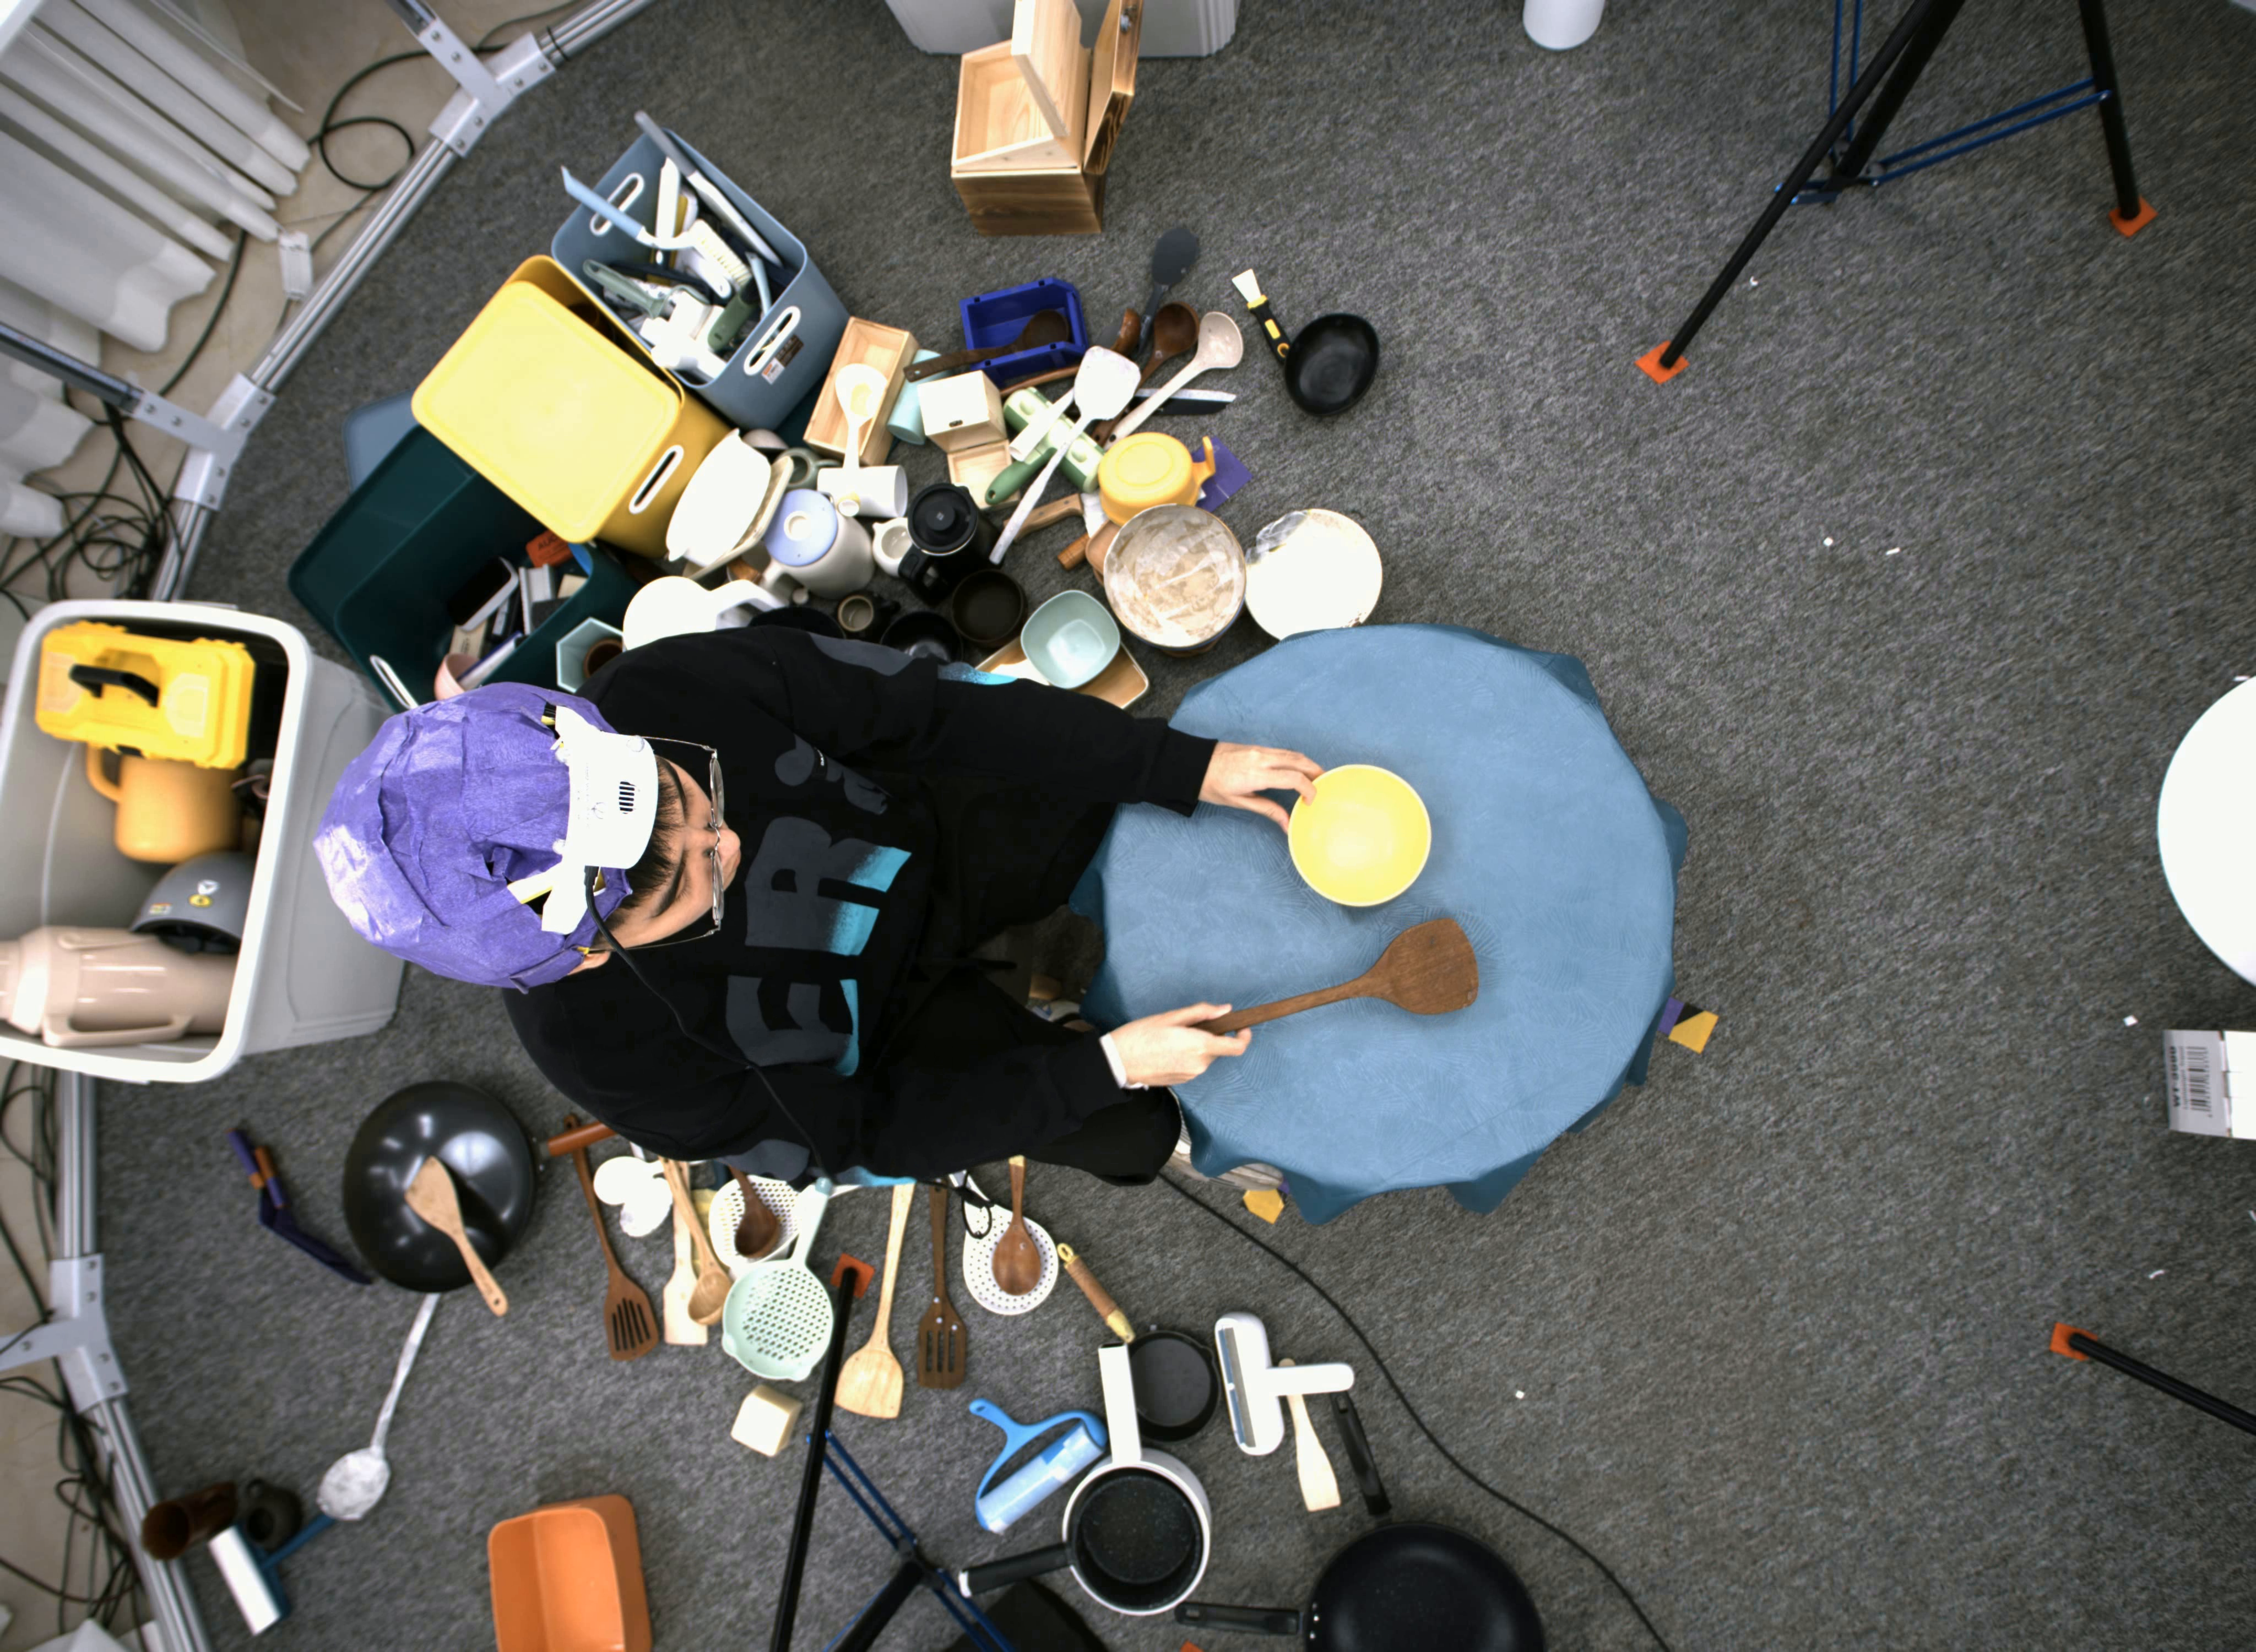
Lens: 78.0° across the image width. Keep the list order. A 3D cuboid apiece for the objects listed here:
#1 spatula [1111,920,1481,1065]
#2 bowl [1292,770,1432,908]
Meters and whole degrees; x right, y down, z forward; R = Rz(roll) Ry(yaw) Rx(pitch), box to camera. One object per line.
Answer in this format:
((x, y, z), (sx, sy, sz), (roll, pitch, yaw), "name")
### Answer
((0.170, 0.184, 1.413), (0.386, 0.016, 0.095), (-15, 84, 0), "spatula")
((0.242, 0.016, 1.440), (0.146, 0.060, 0.144), (-1, 81, 6), "bowl")
